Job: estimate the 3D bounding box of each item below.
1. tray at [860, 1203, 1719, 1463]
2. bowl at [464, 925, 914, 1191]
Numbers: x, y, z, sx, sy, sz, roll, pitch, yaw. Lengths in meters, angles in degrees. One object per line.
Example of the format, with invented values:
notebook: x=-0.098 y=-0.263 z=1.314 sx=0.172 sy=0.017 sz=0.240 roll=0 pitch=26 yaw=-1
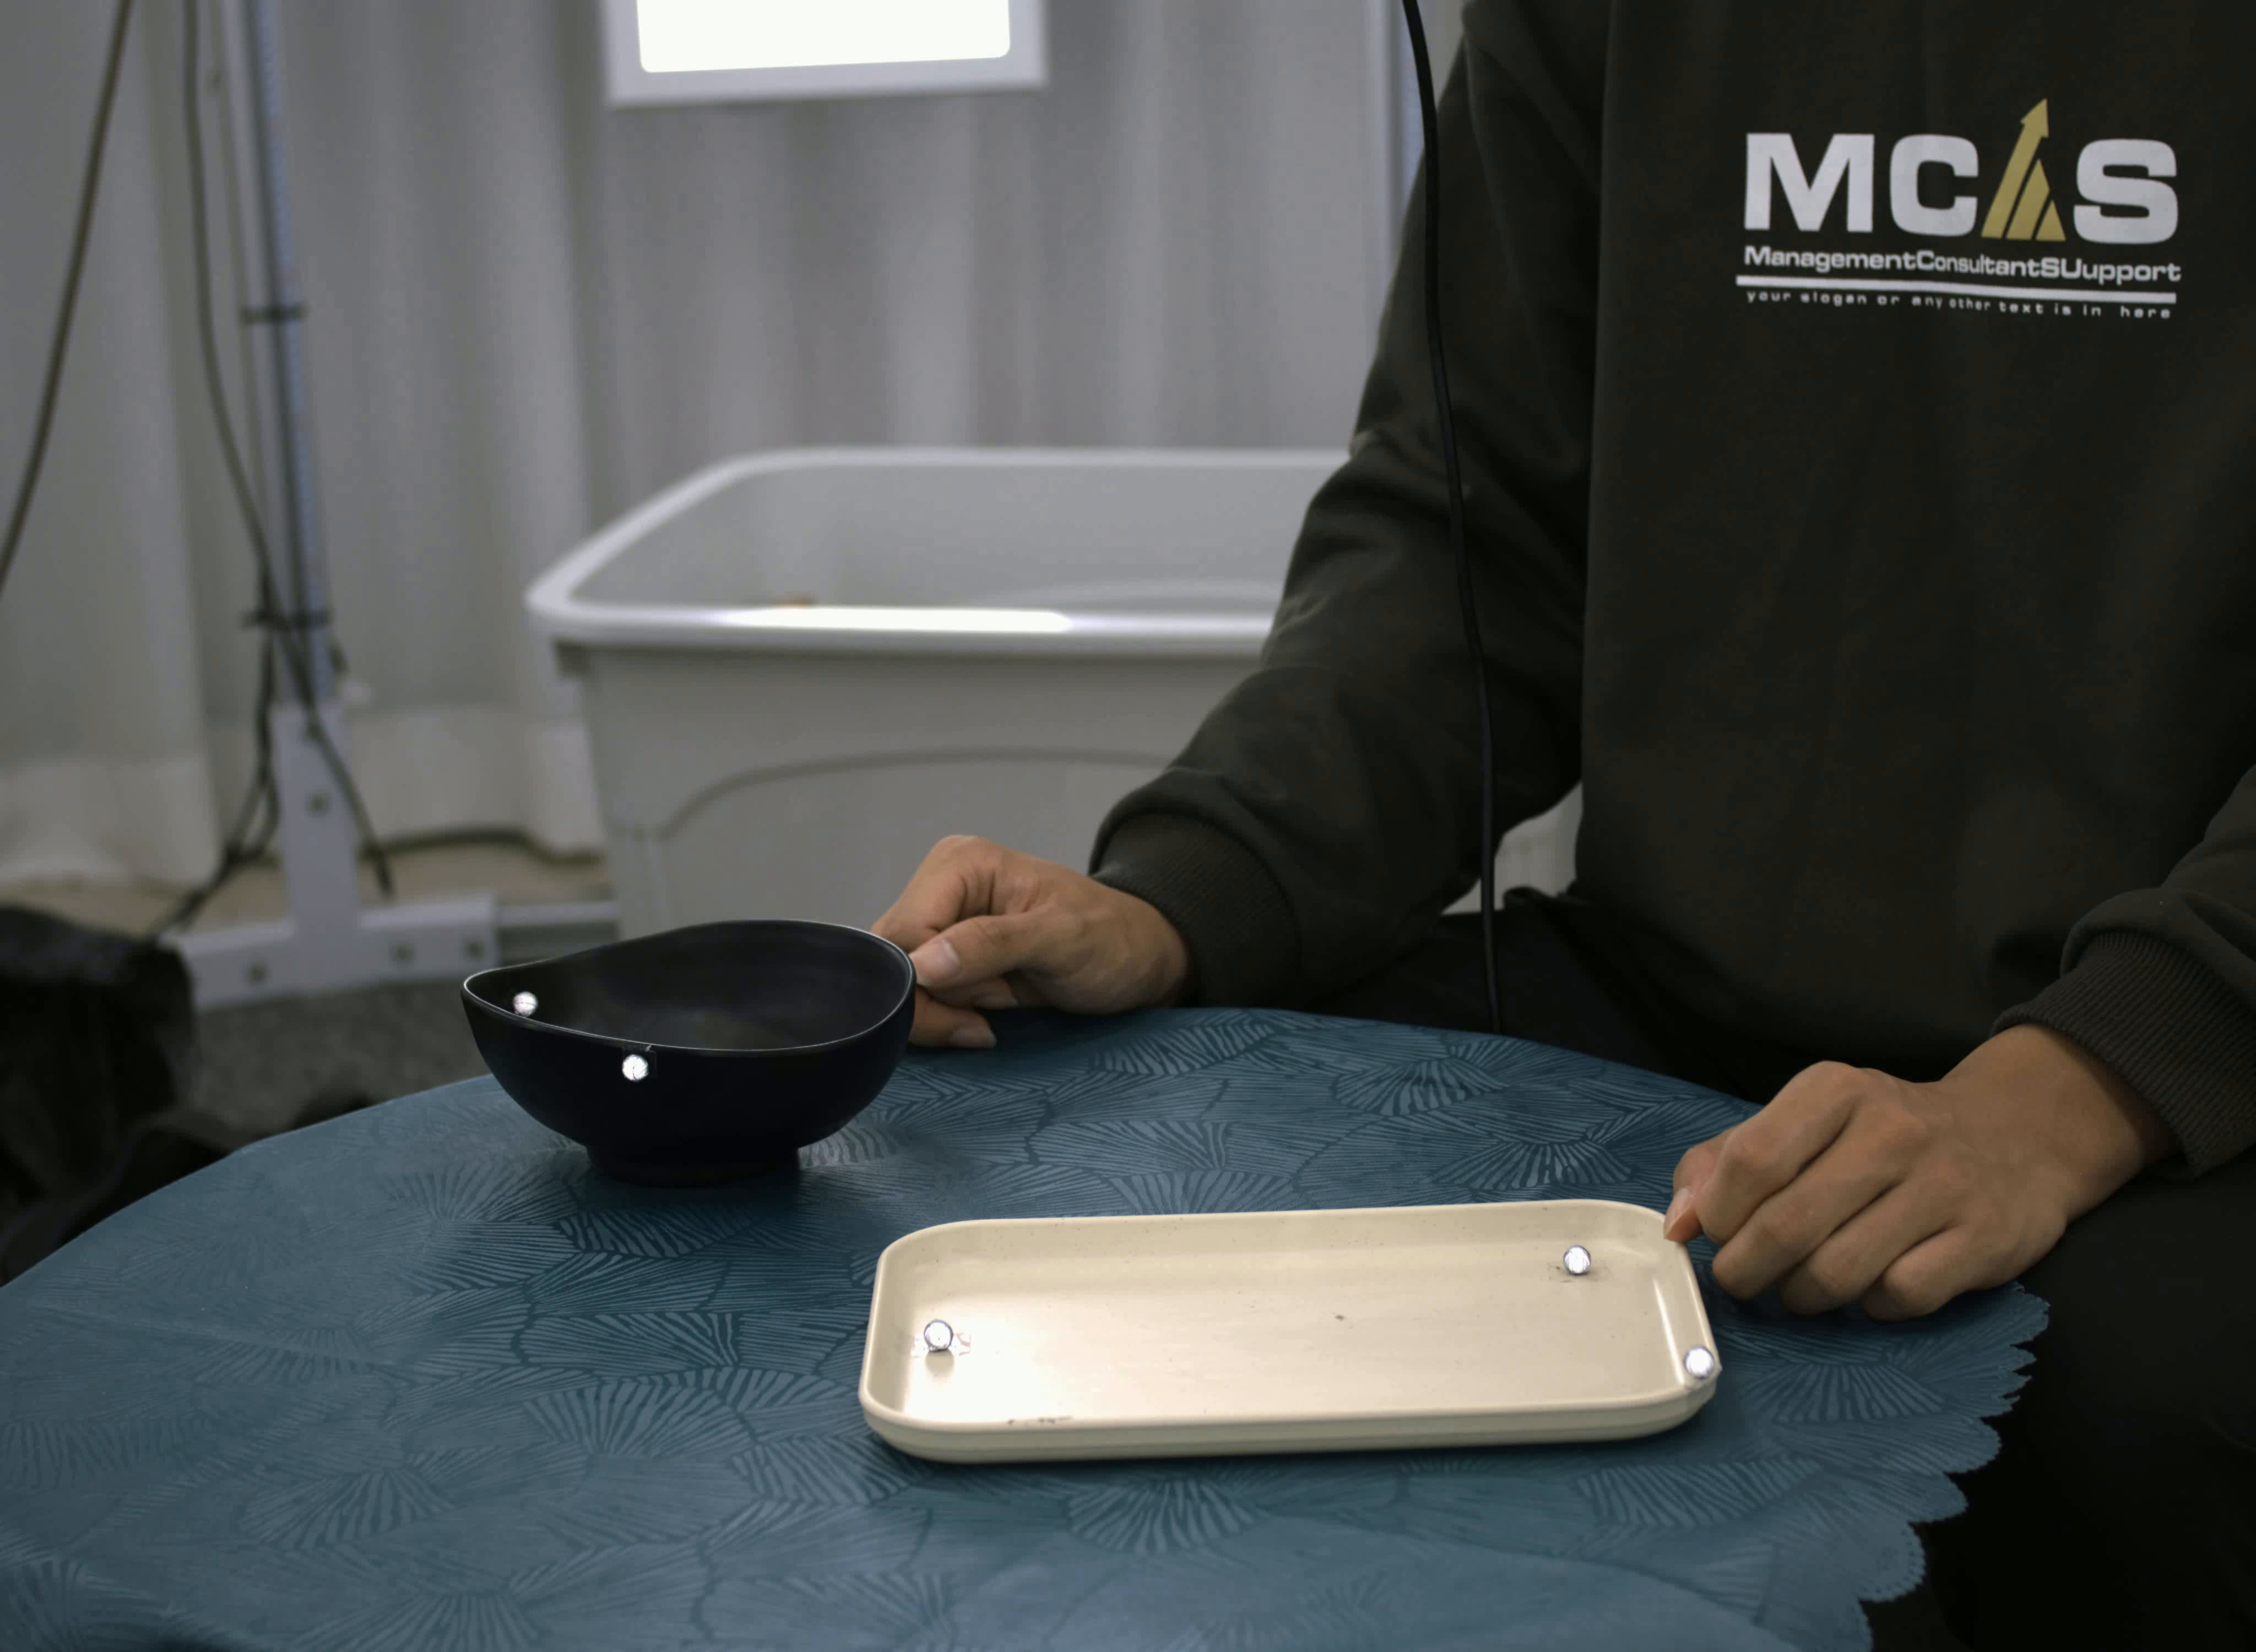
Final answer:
tray: x=0.045 y=0.145 z=1.563 sx=0.239 sy=0.017 sz=0.172 roll=-2 pitch=14 yaw=1
bowl: x=-0.142 y=0.078 z=1.762 sx=0.137 sy=0.066 sz=0.171 roll=-12 pitch=16 yaw=-36
